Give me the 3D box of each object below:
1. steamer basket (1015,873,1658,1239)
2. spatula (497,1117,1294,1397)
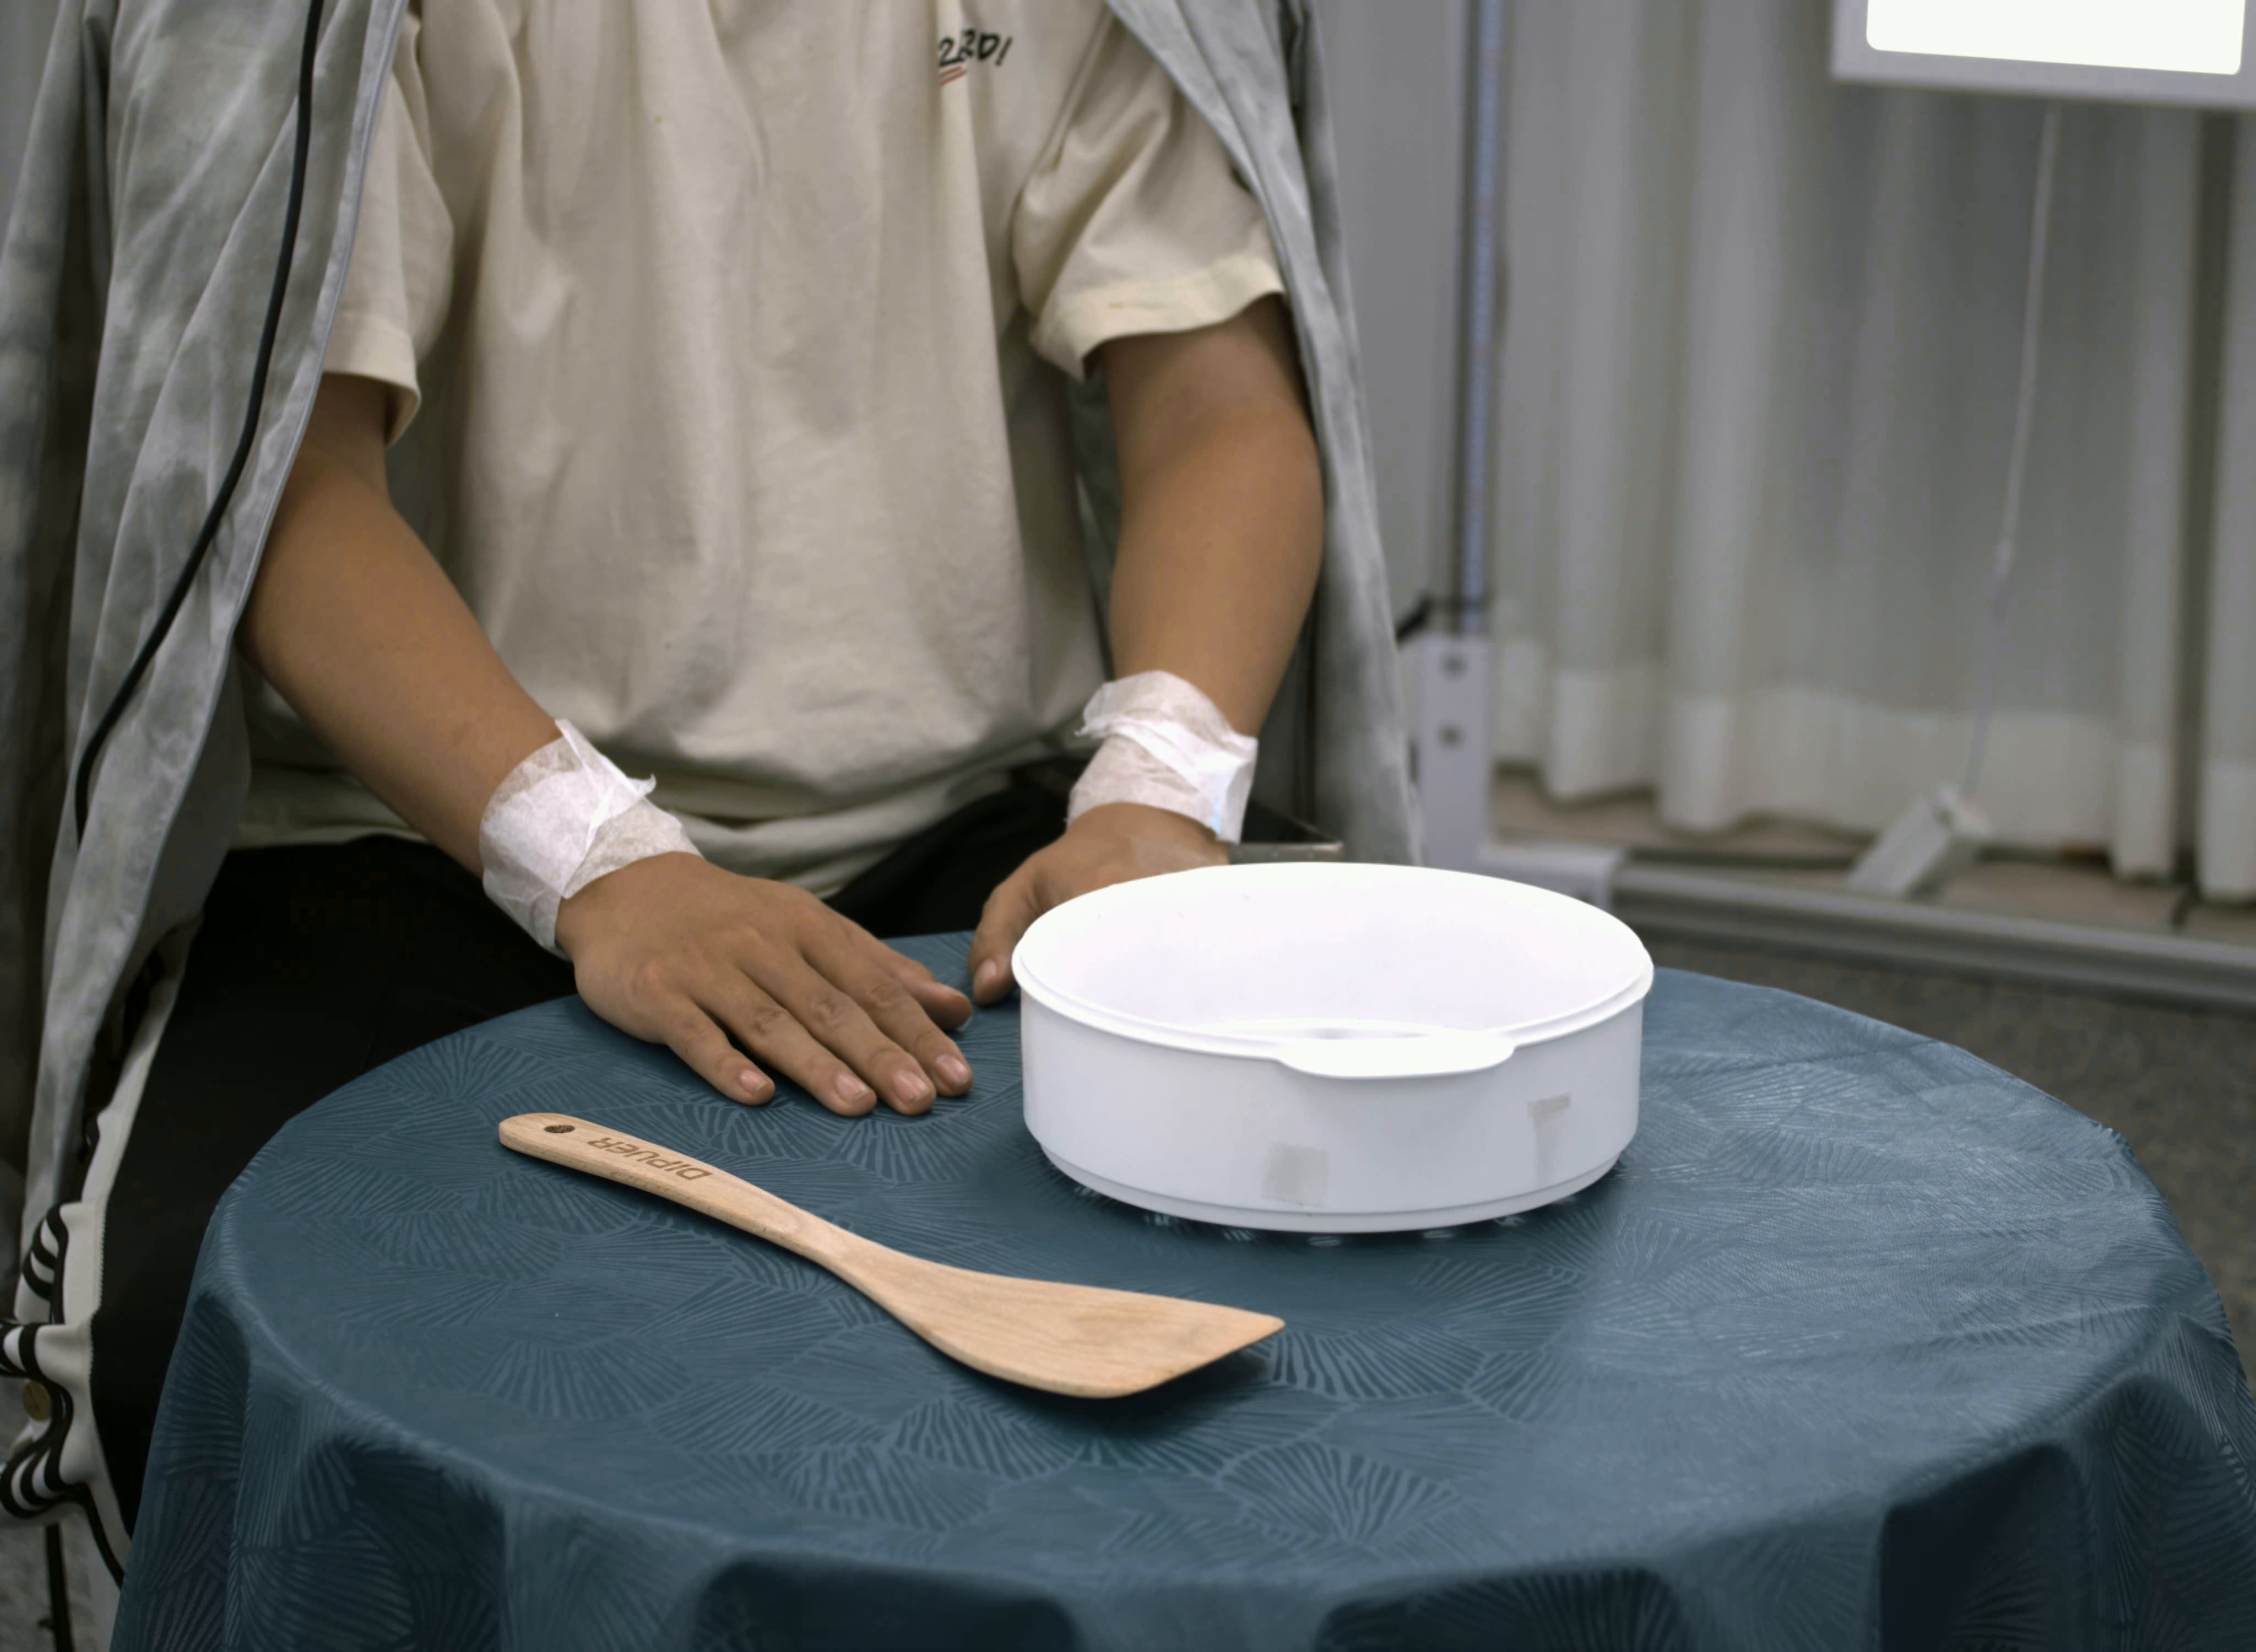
[{"bbox_3d":[0.064,0.072,1.652,0.202,0.070,0.228,-1,15,-10],"label":"steamer basket"},{"bbox_3d":[-0.082,0.122,1.555,0.080,0.016,0.323,-13,20,-42],"label":"spatula"}]
